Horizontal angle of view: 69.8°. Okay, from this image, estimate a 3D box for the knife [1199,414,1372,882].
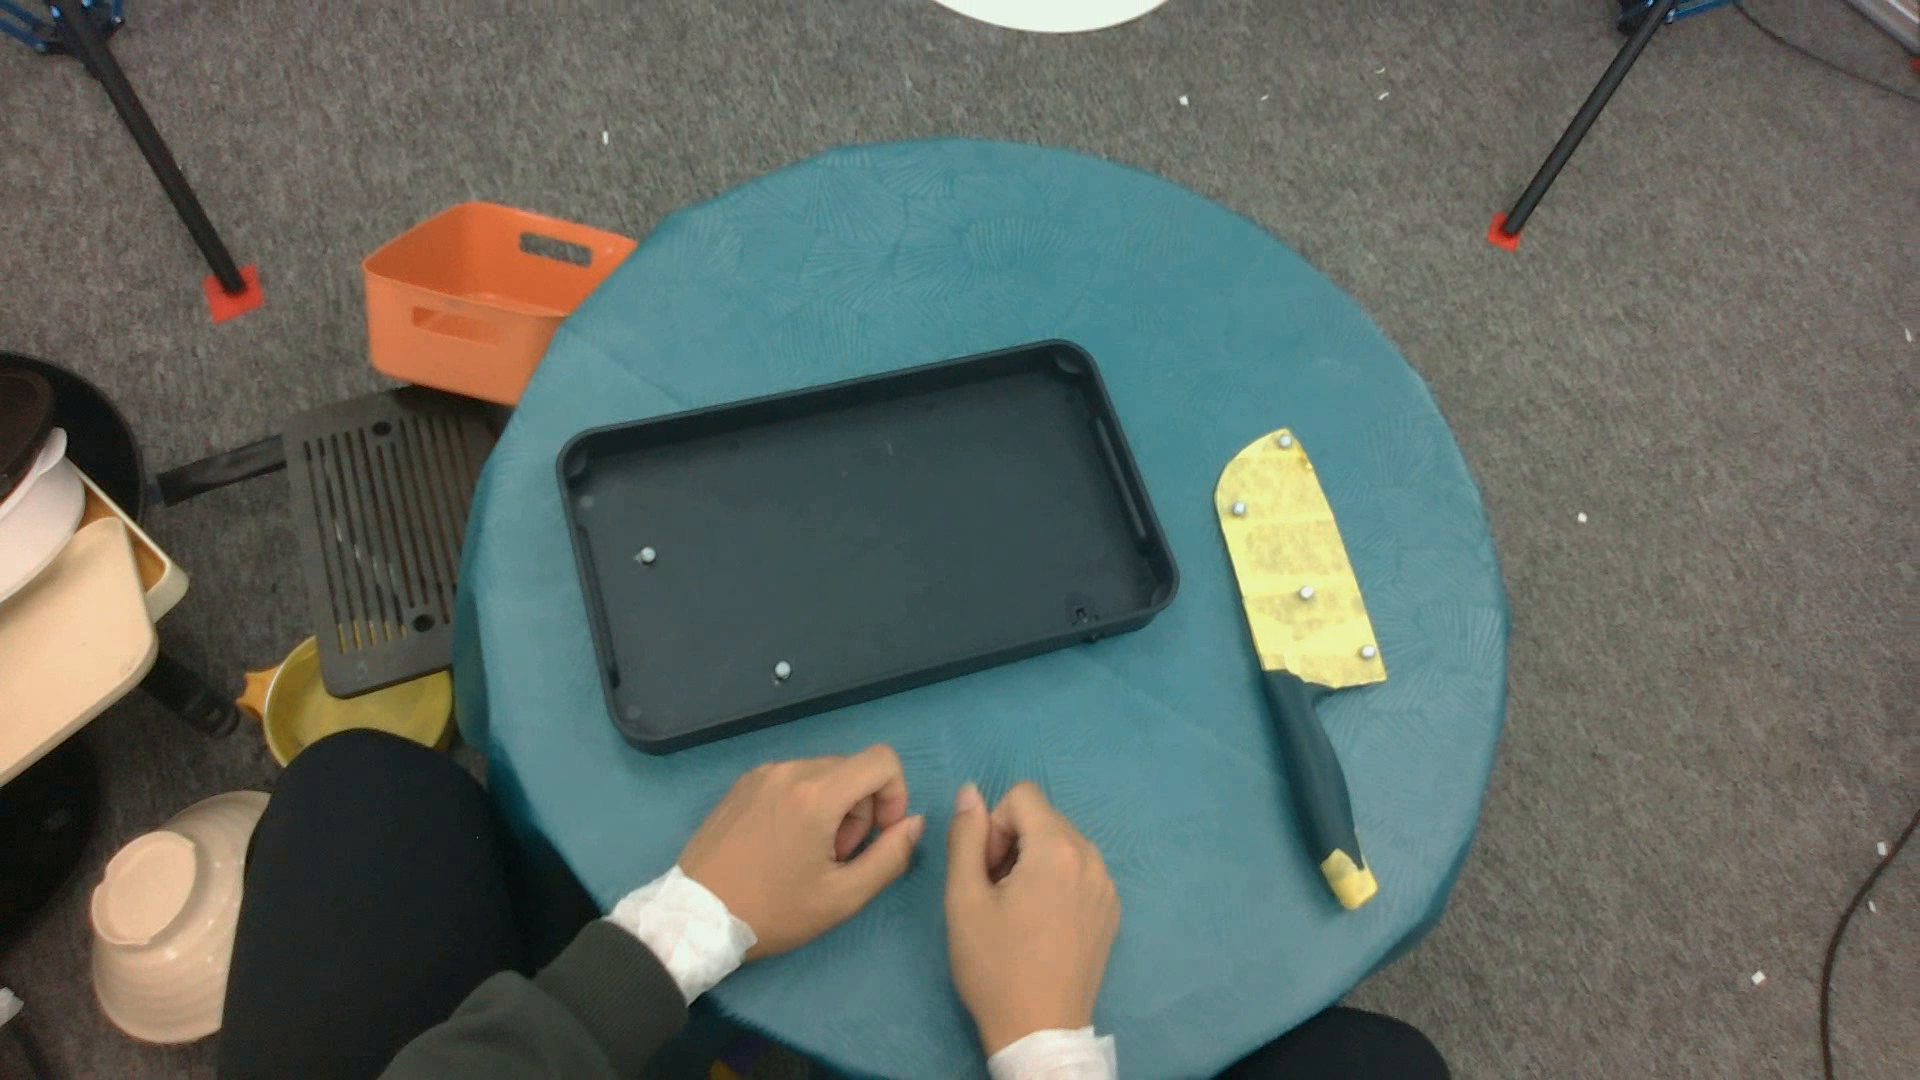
[{"bbox_3d":[0.196,0.051,0.795,0.081,0.027,0.290,-3,65,-9],"label":"knife"}]

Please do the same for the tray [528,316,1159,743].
[{"bbox_3d":[-0.062,-0.013,0.769,0.318,0.037,0.184,-15,69,-16],"label":"tray"}]
